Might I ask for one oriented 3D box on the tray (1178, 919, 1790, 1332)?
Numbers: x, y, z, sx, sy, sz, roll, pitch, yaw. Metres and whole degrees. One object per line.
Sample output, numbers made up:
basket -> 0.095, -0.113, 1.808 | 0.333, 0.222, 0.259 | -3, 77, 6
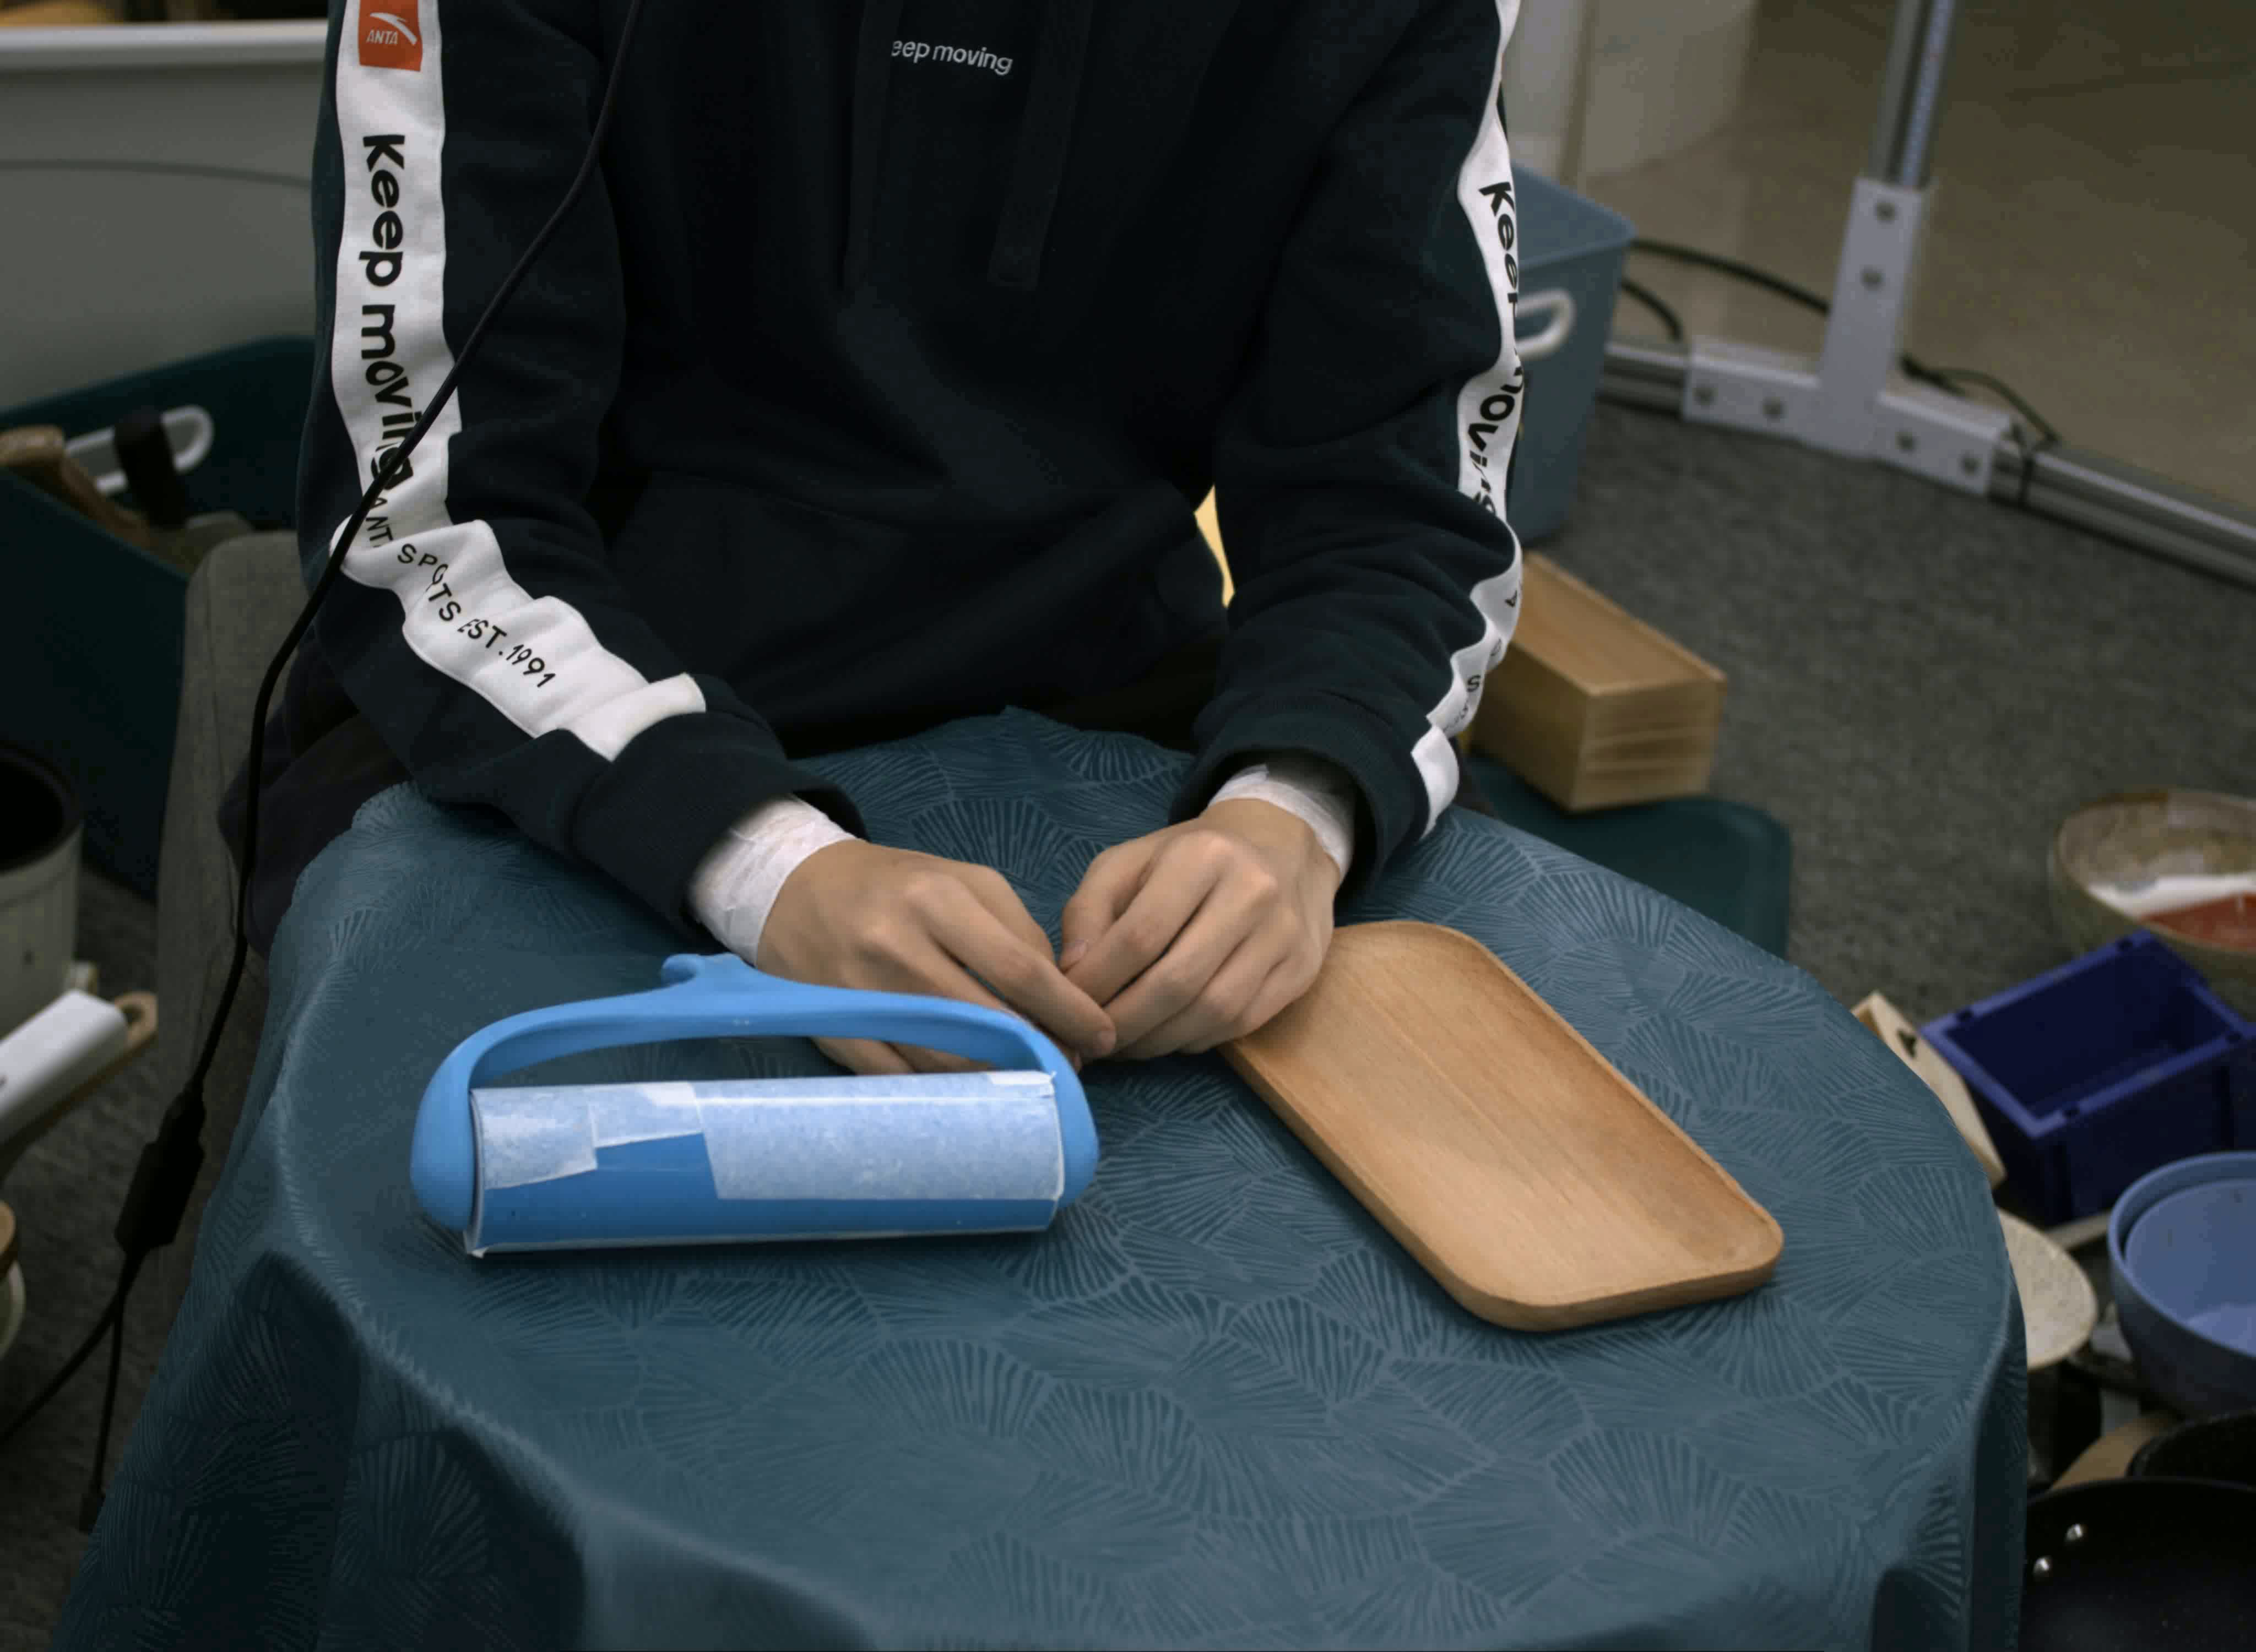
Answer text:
tray -> 0.120, 0.101, 1.851 | 0.129, 0.023, 0.253 | -5, 28, -26

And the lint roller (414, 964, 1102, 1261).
lint roller -> -0.136, 0.081, 1.789 | 0.227, 0.067, 0.182 | -4, 30, -16
